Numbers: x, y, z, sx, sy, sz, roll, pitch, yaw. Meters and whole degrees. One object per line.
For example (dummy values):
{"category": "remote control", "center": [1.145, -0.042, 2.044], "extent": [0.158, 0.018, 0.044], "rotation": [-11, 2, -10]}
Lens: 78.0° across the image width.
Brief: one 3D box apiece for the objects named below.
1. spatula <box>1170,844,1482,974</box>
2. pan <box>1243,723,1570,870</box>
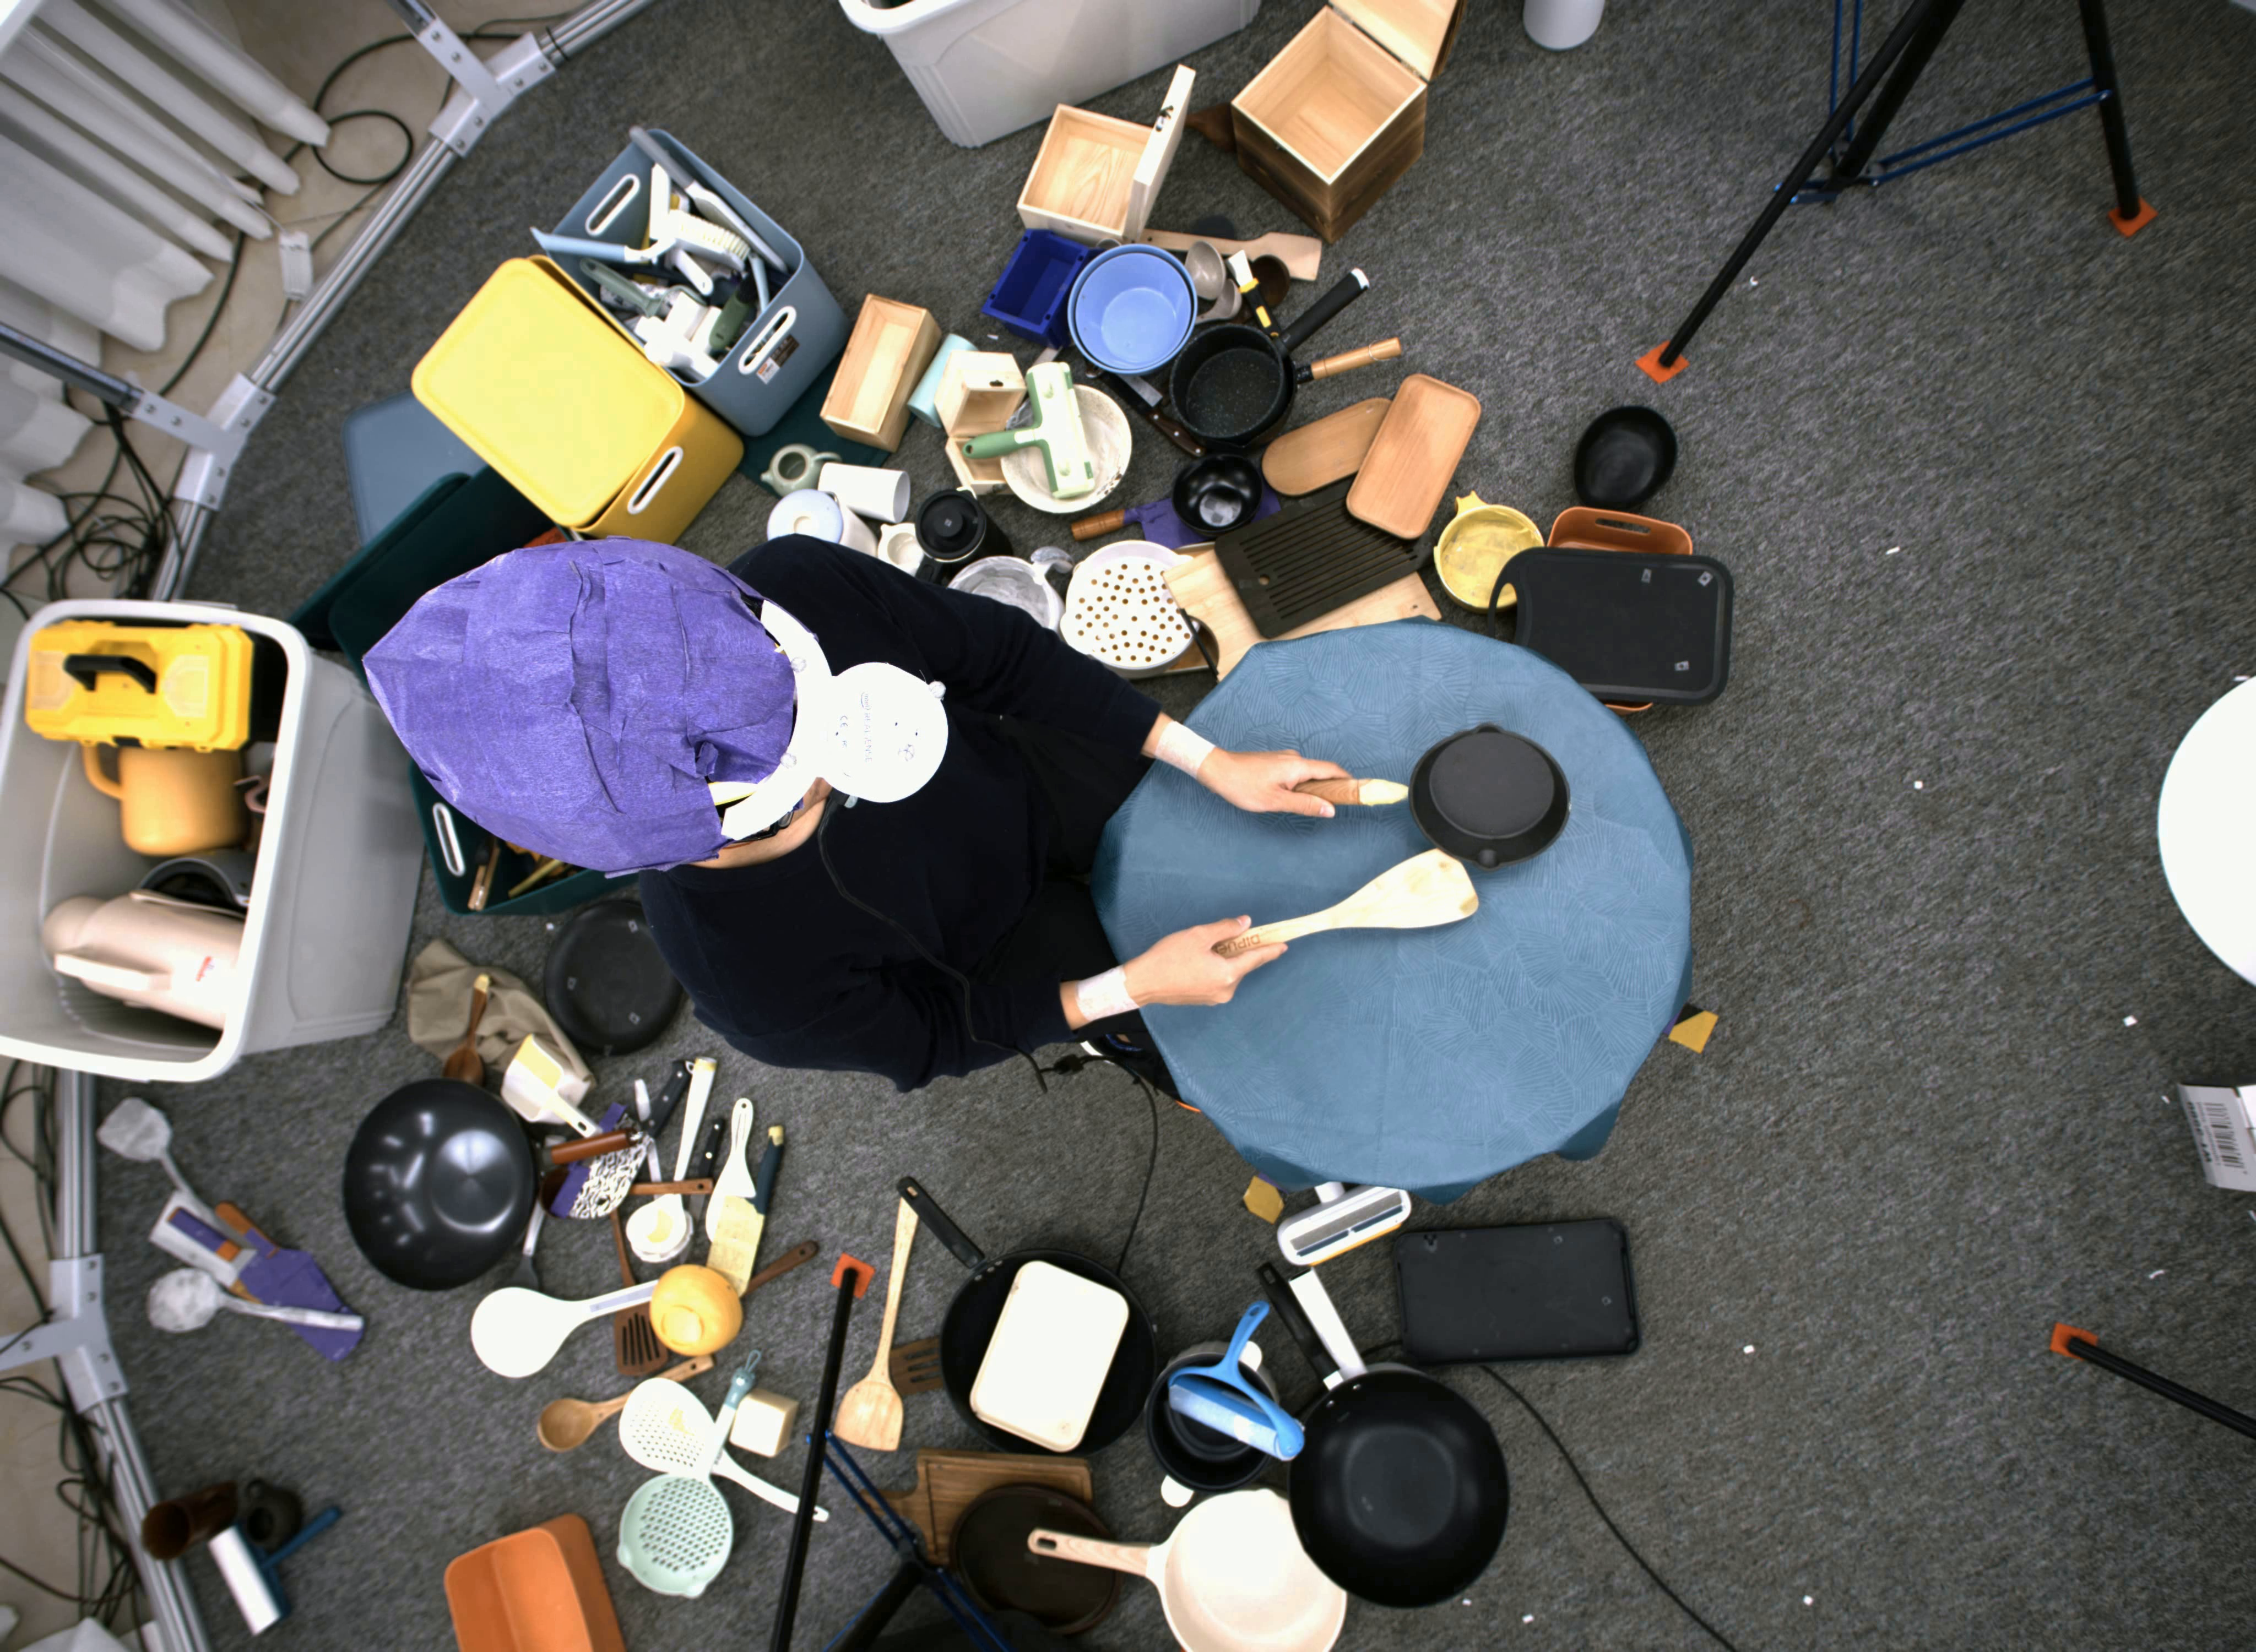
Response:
{"category": "spatula", "center": [0.199, 0.093, 1.399], "extent": [0.327, 0.016, 0.080], "rotation": [-16, 93, -7]}
{"category": "pan", "center": [0.278, -0.039, 1.390], "extent": [0.325, 0.048, 0.173], "rotation": [4, 125, 17]}
